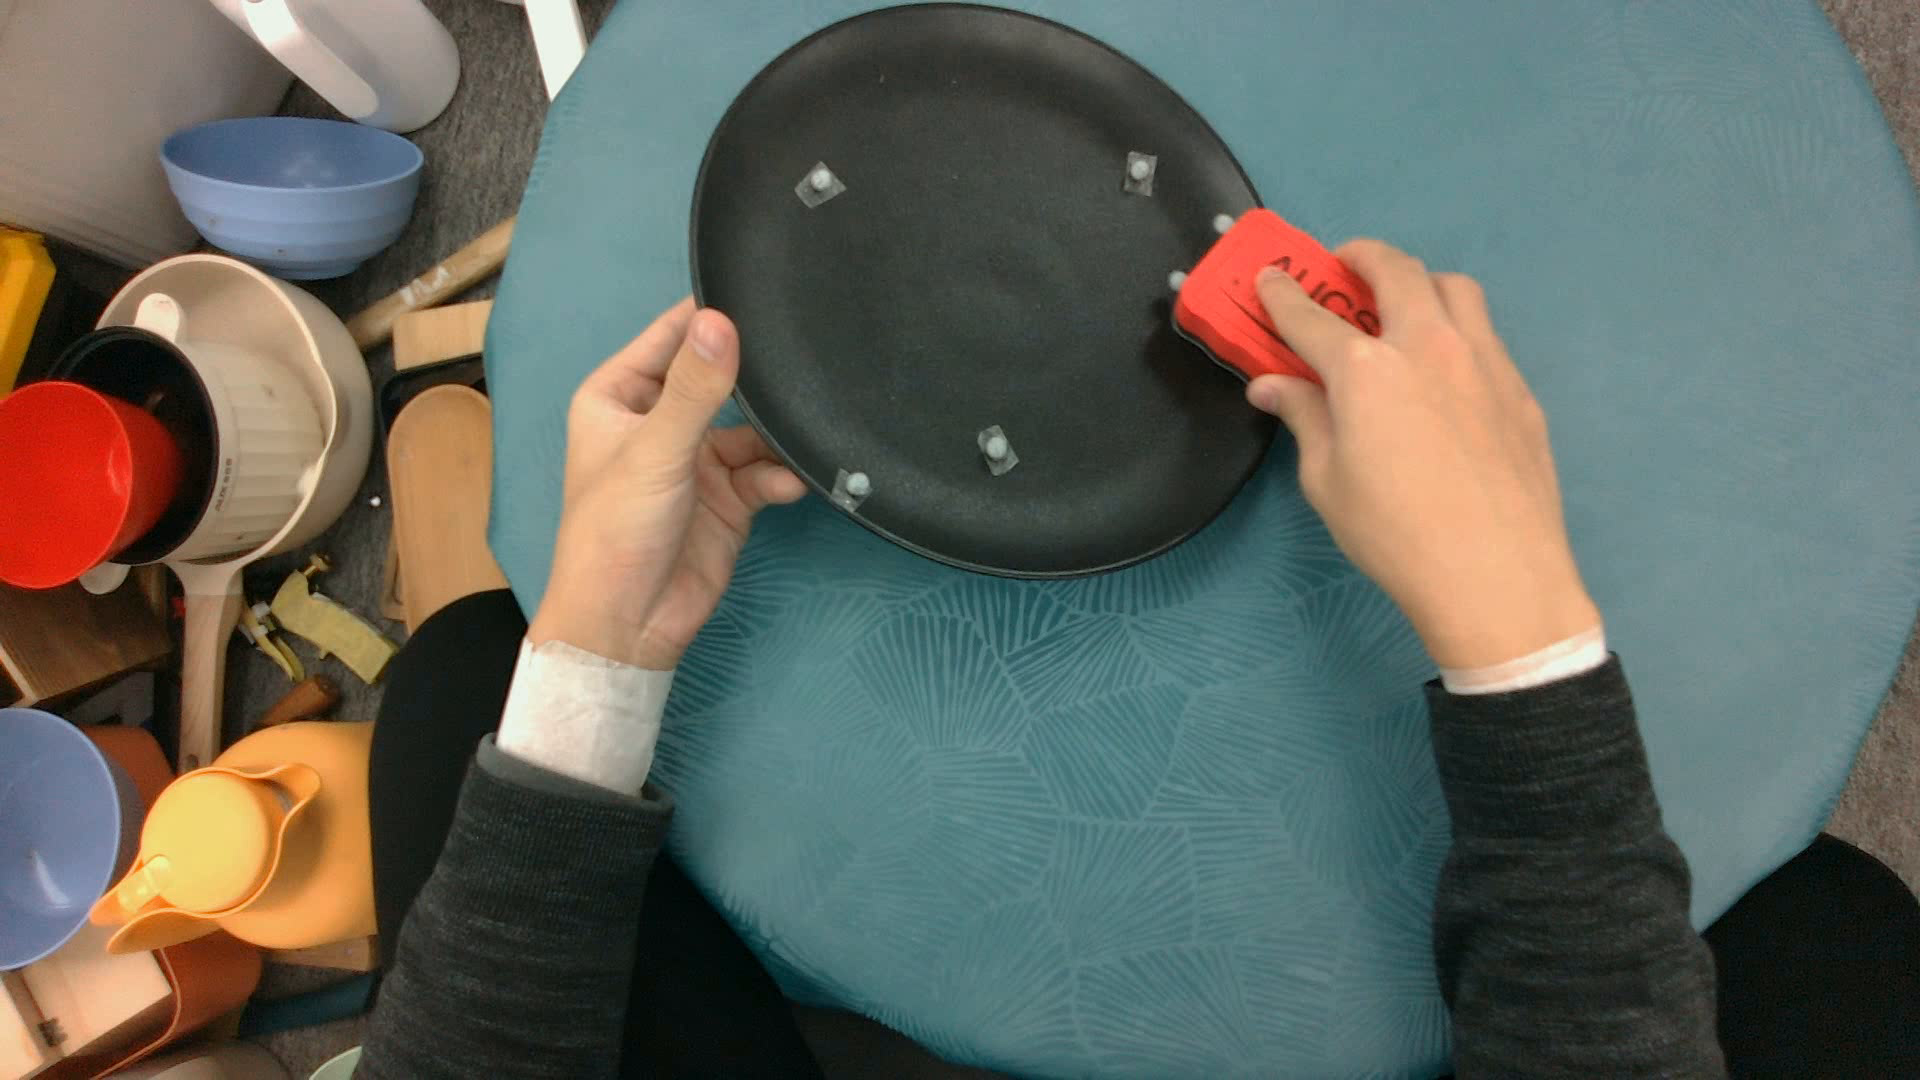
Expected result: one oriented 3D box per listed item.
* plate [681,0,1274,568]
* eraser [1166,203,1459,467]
[{"bbox_3d":[0.013,-0.103,0.540,0.244,0.023,0.245,5,71,-16],"label":"plate"},{"bbox_3d":[0.138,-0.082,0.546,0.108,0.023,0.059,40,77,12],"label":"eraser"}]
